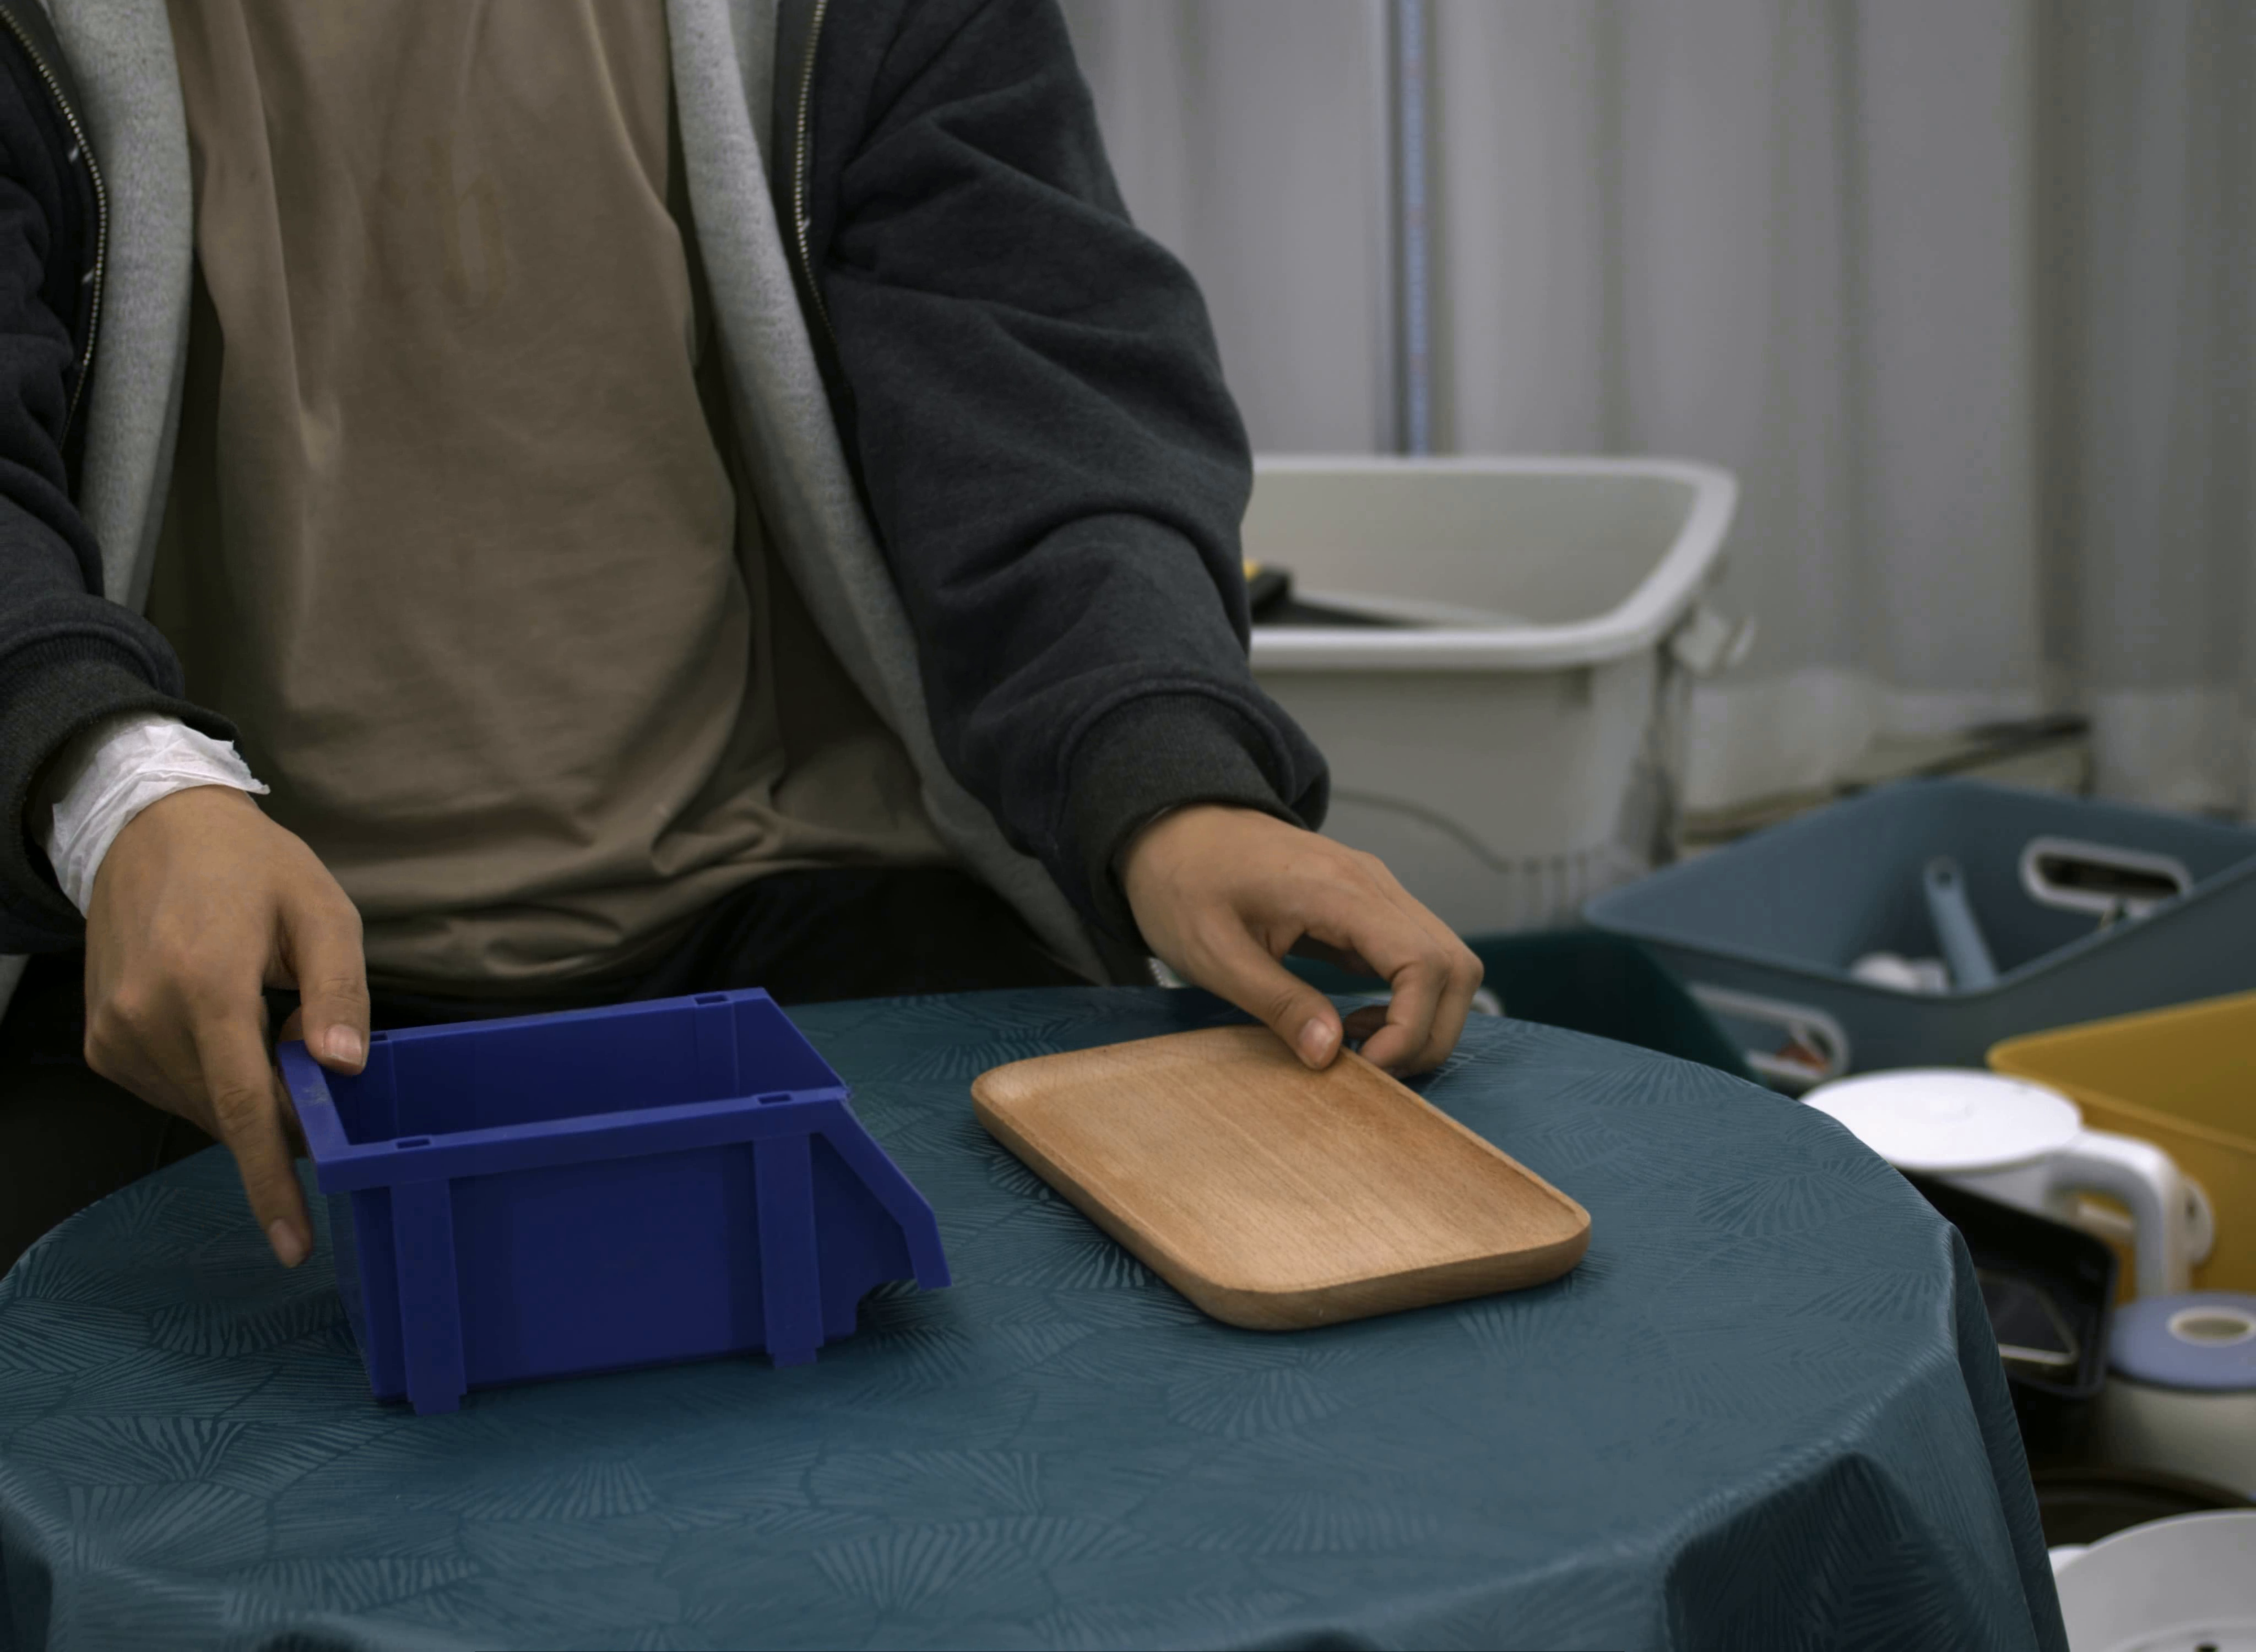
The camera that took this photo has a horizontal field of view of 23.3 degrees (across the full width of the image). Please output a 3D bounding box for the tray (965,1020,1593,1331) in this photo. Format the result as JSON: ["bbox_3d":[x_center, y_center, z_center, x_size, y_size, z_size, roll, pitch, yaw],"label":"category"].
[{"bbox_3d":[0.043,0.106,1.704,0.130,0.023,0.252,-6,14,-19],"label":"tray"}]

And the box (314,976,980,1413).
[{"bbox_3d":[-0.143,0.105,1.621,0.179,0.081,0.125,-9,15,-10],"label":"box"}]
